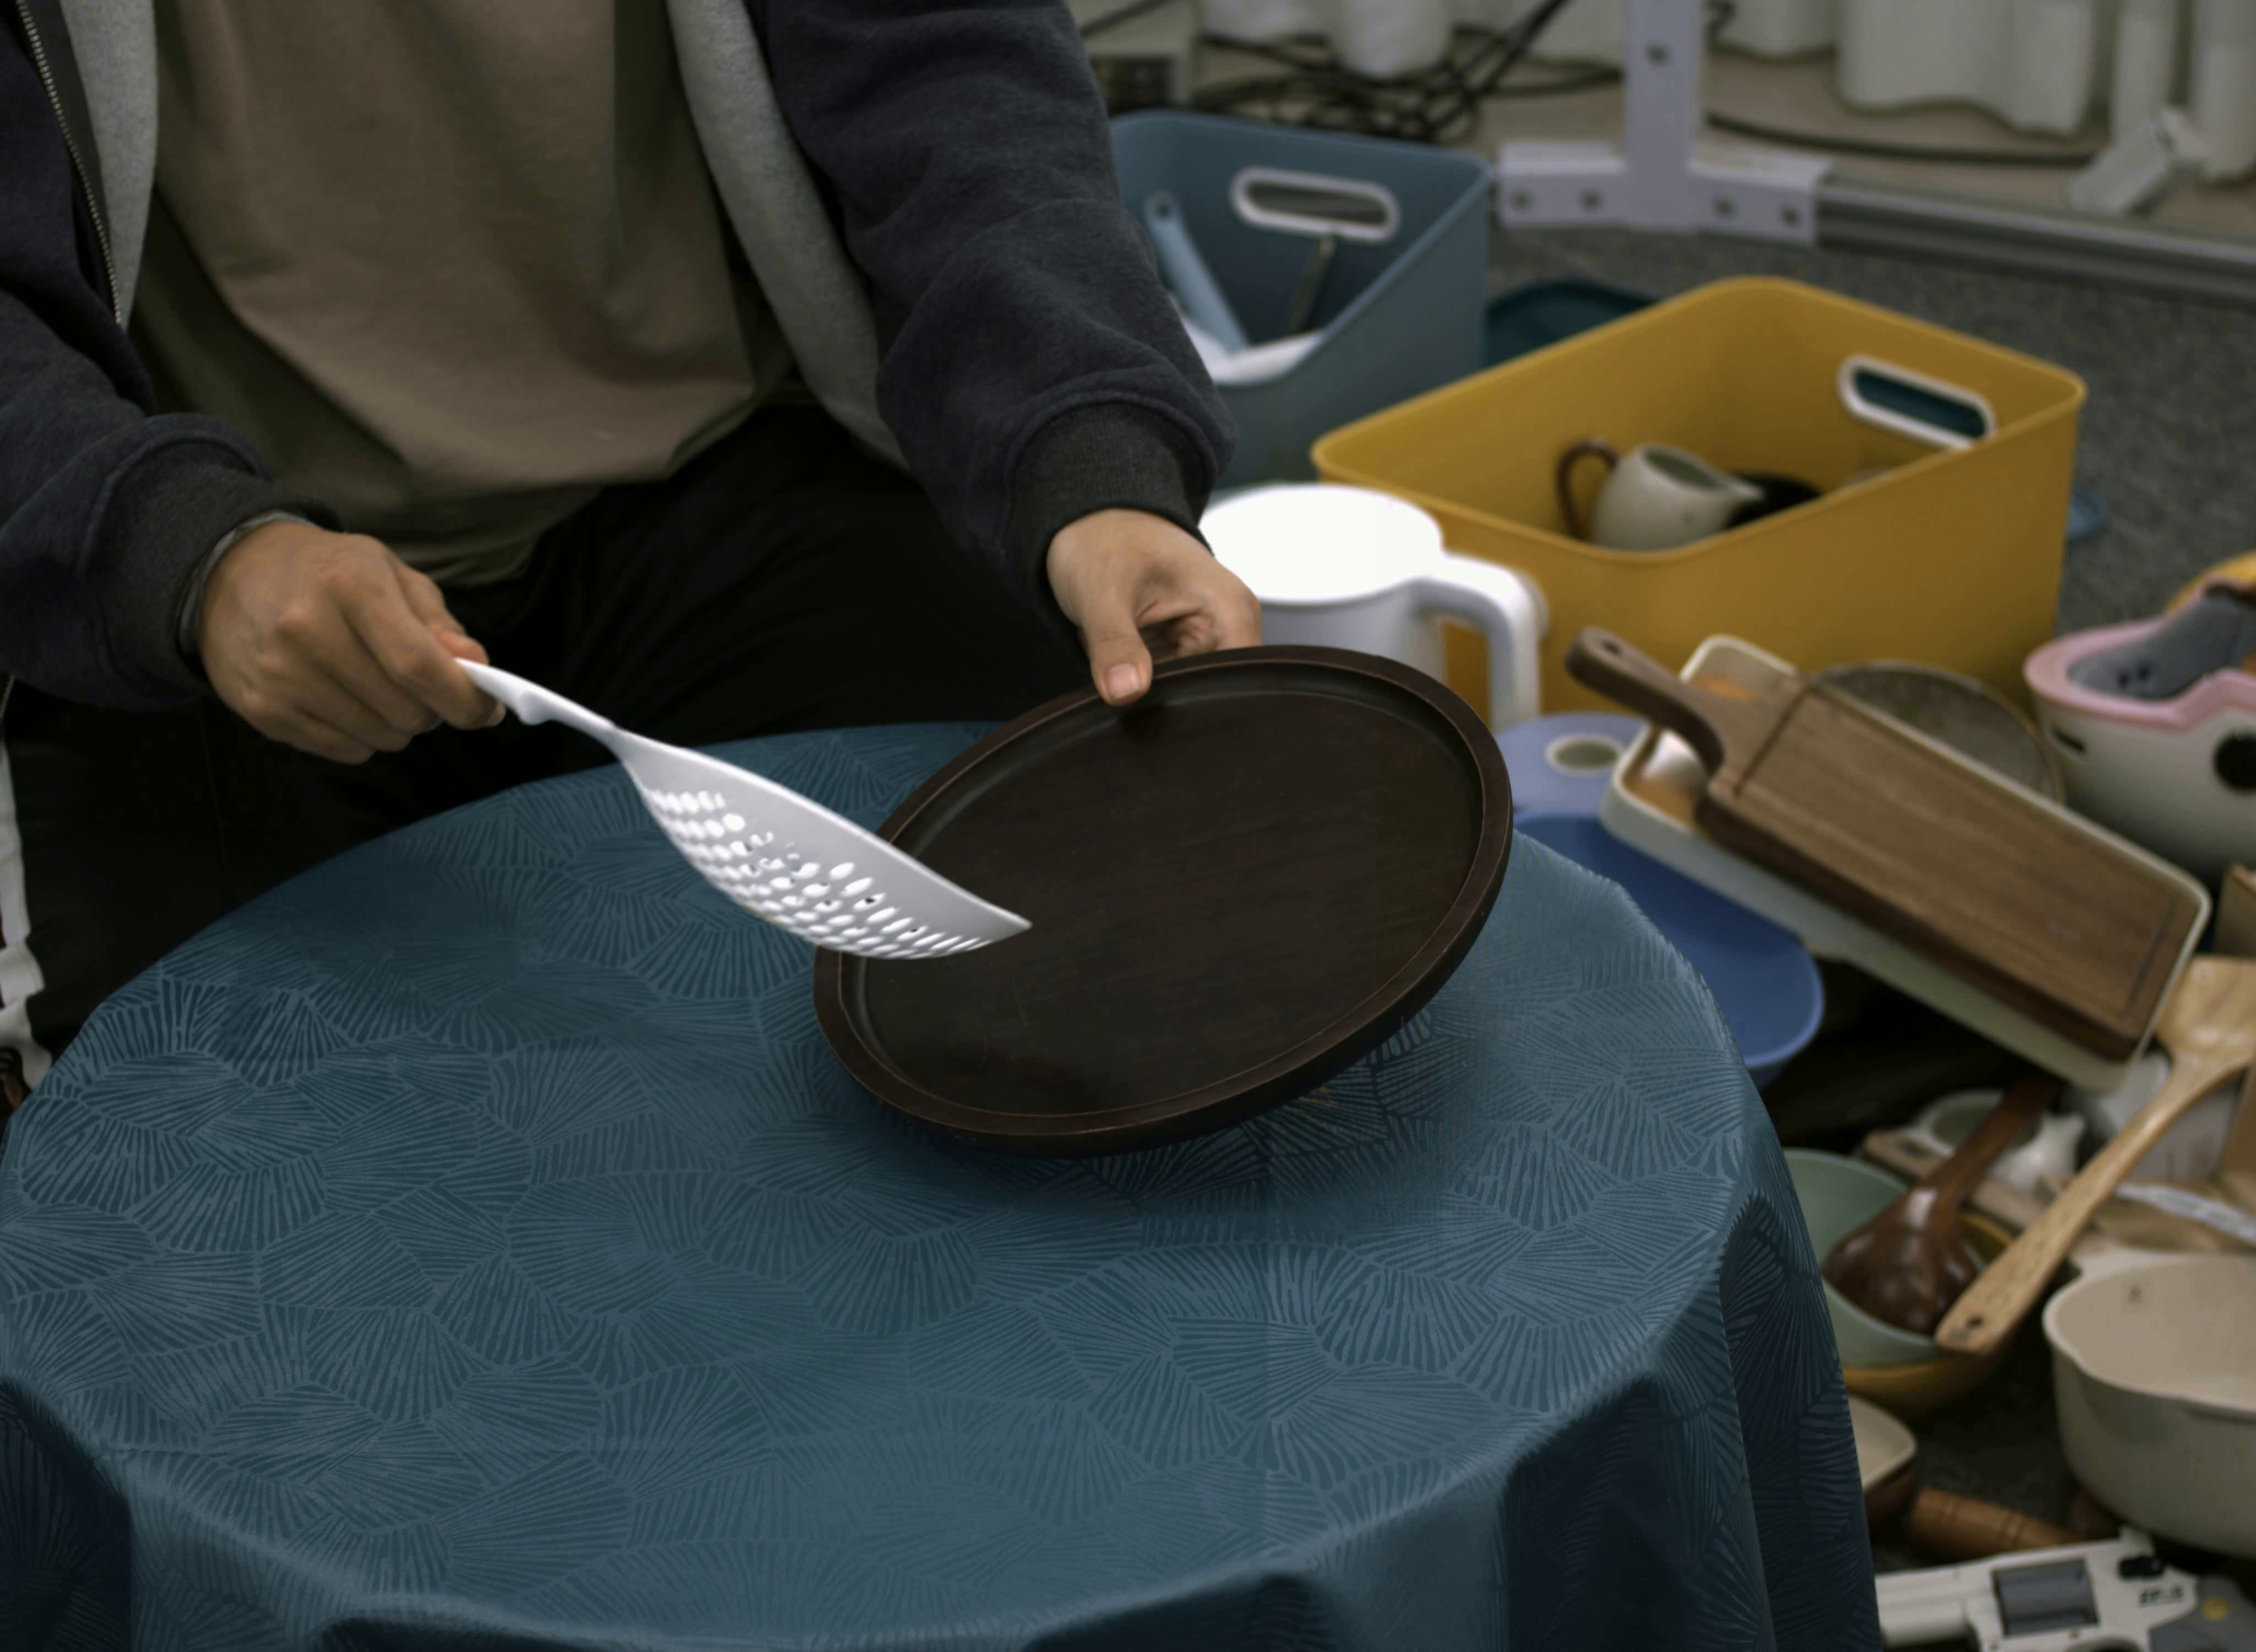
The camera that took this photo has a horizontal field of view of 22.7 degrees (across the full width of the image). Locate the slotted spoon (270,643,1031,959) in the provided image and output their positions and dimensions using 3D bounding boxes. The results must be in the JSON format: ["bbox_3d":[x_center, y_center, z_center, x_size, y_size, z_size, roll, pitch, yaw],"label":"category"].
[{"bbox_3d":[-0.175,-0.019,1.903,0.348,0.050,0.136,27,-1,43],"label":"slotted spoon"}]

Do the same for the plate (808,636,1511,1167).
[{"bbox_3d":[0.011,0.027,1.931,0.253,0.029,0.259,-15,36,11],"label":"plate"}]
